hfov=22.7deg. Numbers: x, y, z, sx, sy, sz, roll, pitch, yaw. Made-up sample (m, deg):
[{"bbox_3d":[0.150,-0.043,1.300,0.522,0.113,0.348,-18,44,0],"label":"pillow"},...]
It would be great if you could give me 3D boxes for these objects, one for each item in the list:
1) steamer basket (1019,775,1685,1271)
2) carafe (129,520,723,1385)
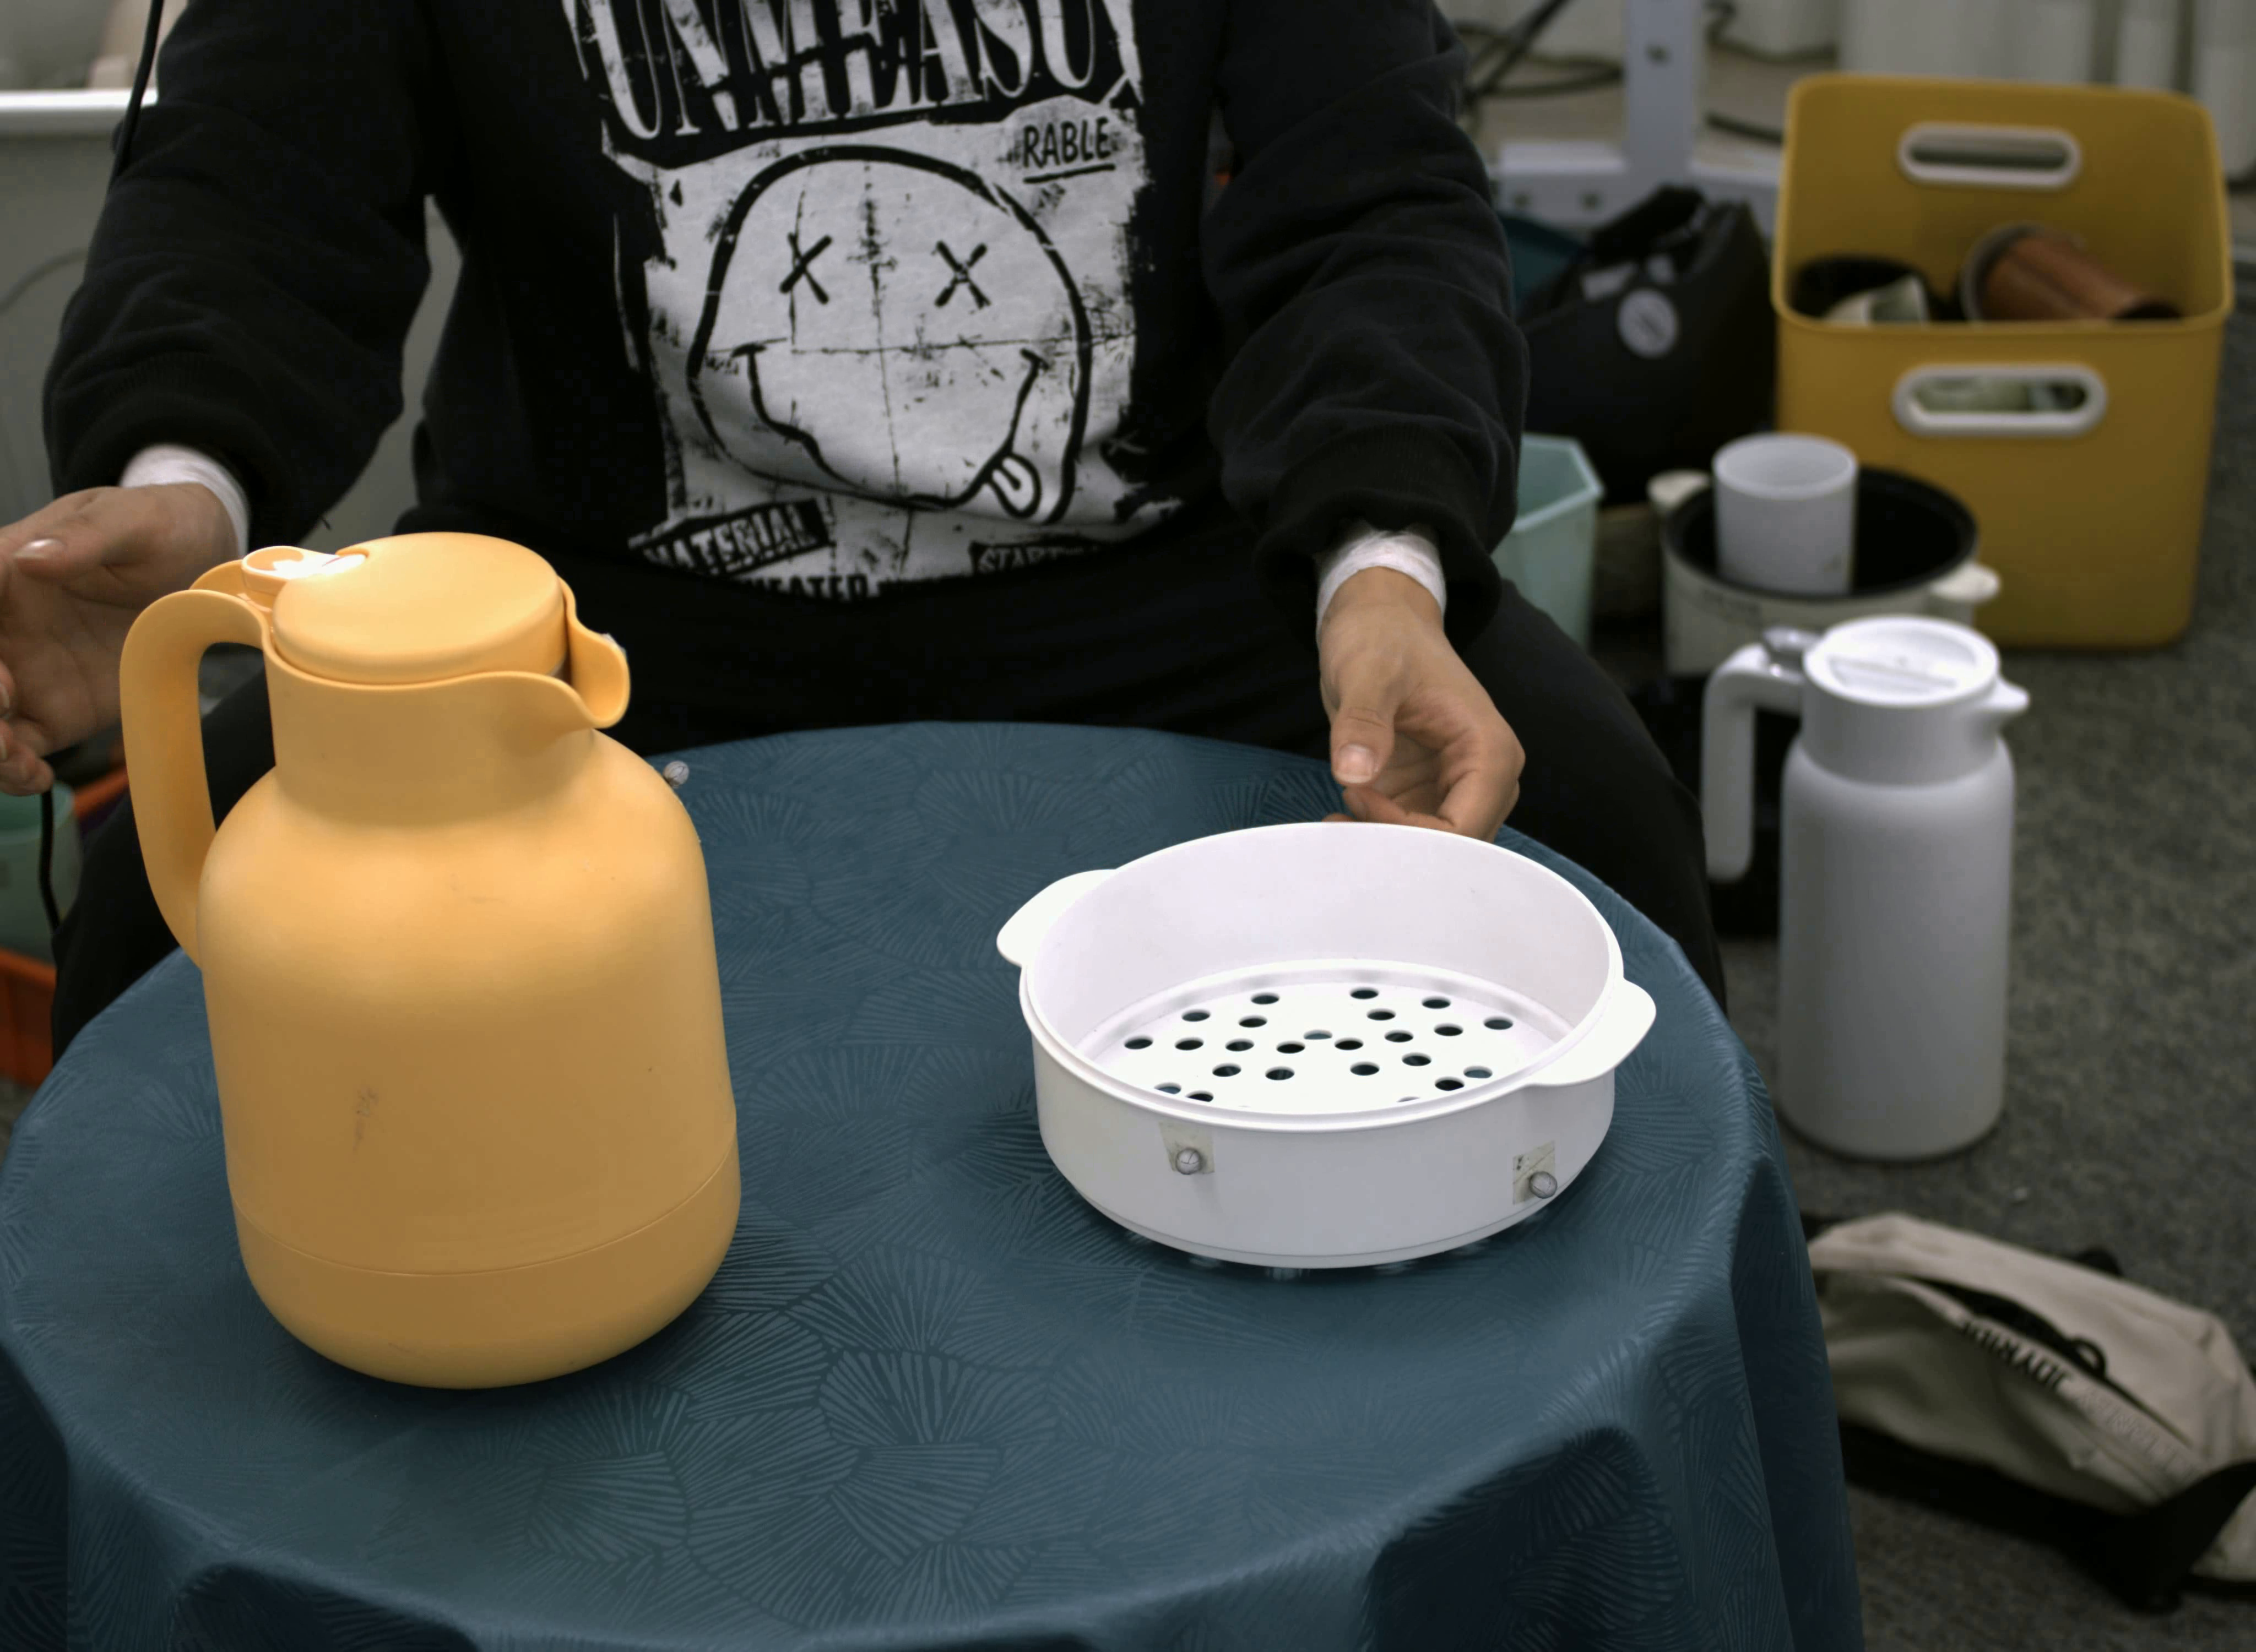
[{"bbox_3d":[0.071,0.066,1.866,0.230,0.068,0.205,20,38,22],"label":"steamer basket"},{"bbox_3d":[-0.227,0.030,1.775,0.201,0.258,0.166,17,30,31],"label":"carafe"}]
